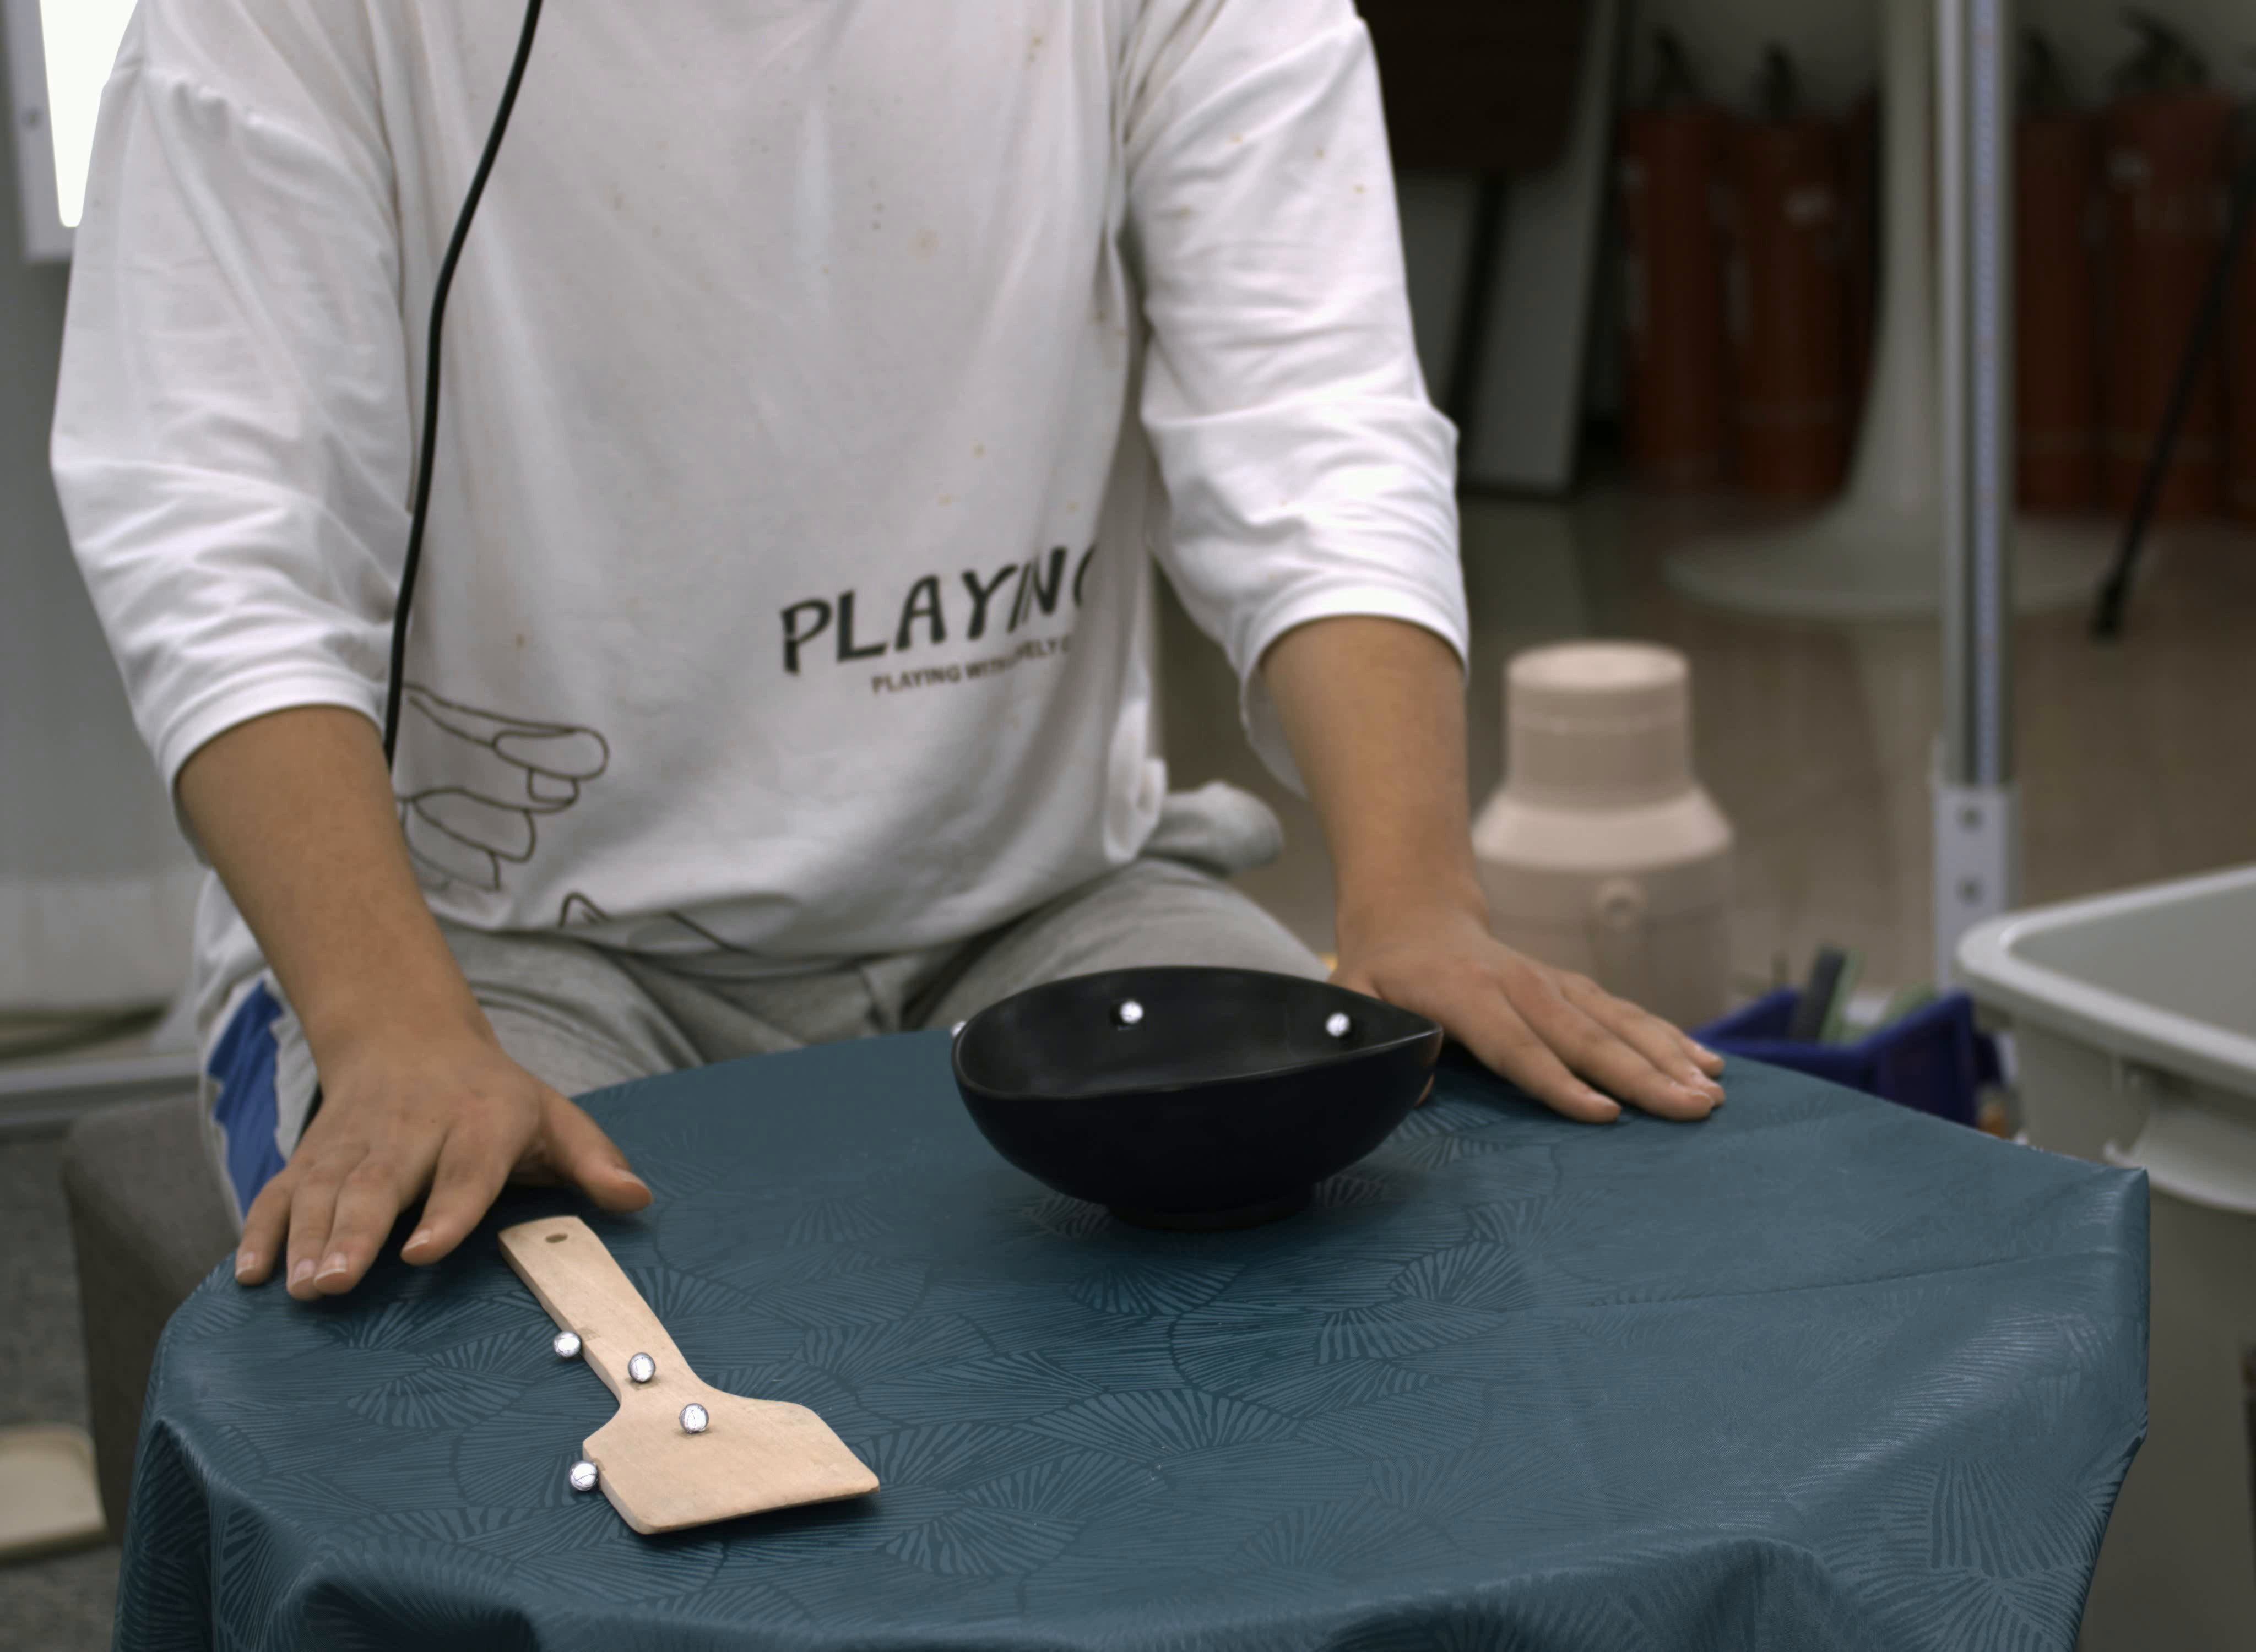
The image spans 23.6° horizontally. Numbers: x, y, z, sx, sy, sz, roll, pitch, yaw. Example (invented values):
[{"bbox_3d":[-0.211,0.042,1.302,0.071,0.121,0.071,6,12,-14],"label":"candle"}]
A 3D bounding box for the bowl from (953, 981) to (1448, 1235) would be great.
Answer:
[{"bbox_3d":[0.024,0.093,1.751,0.166,0.067,0.139,-9,13,-29],"label":"bowl"}]

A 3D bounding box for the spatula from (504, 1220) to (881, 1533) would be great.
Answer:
[{"bbox_3d":[-0.146,0.162,1.626,0.071,0.011,0.295,-9,14,-17],"label":"spatula"}]
